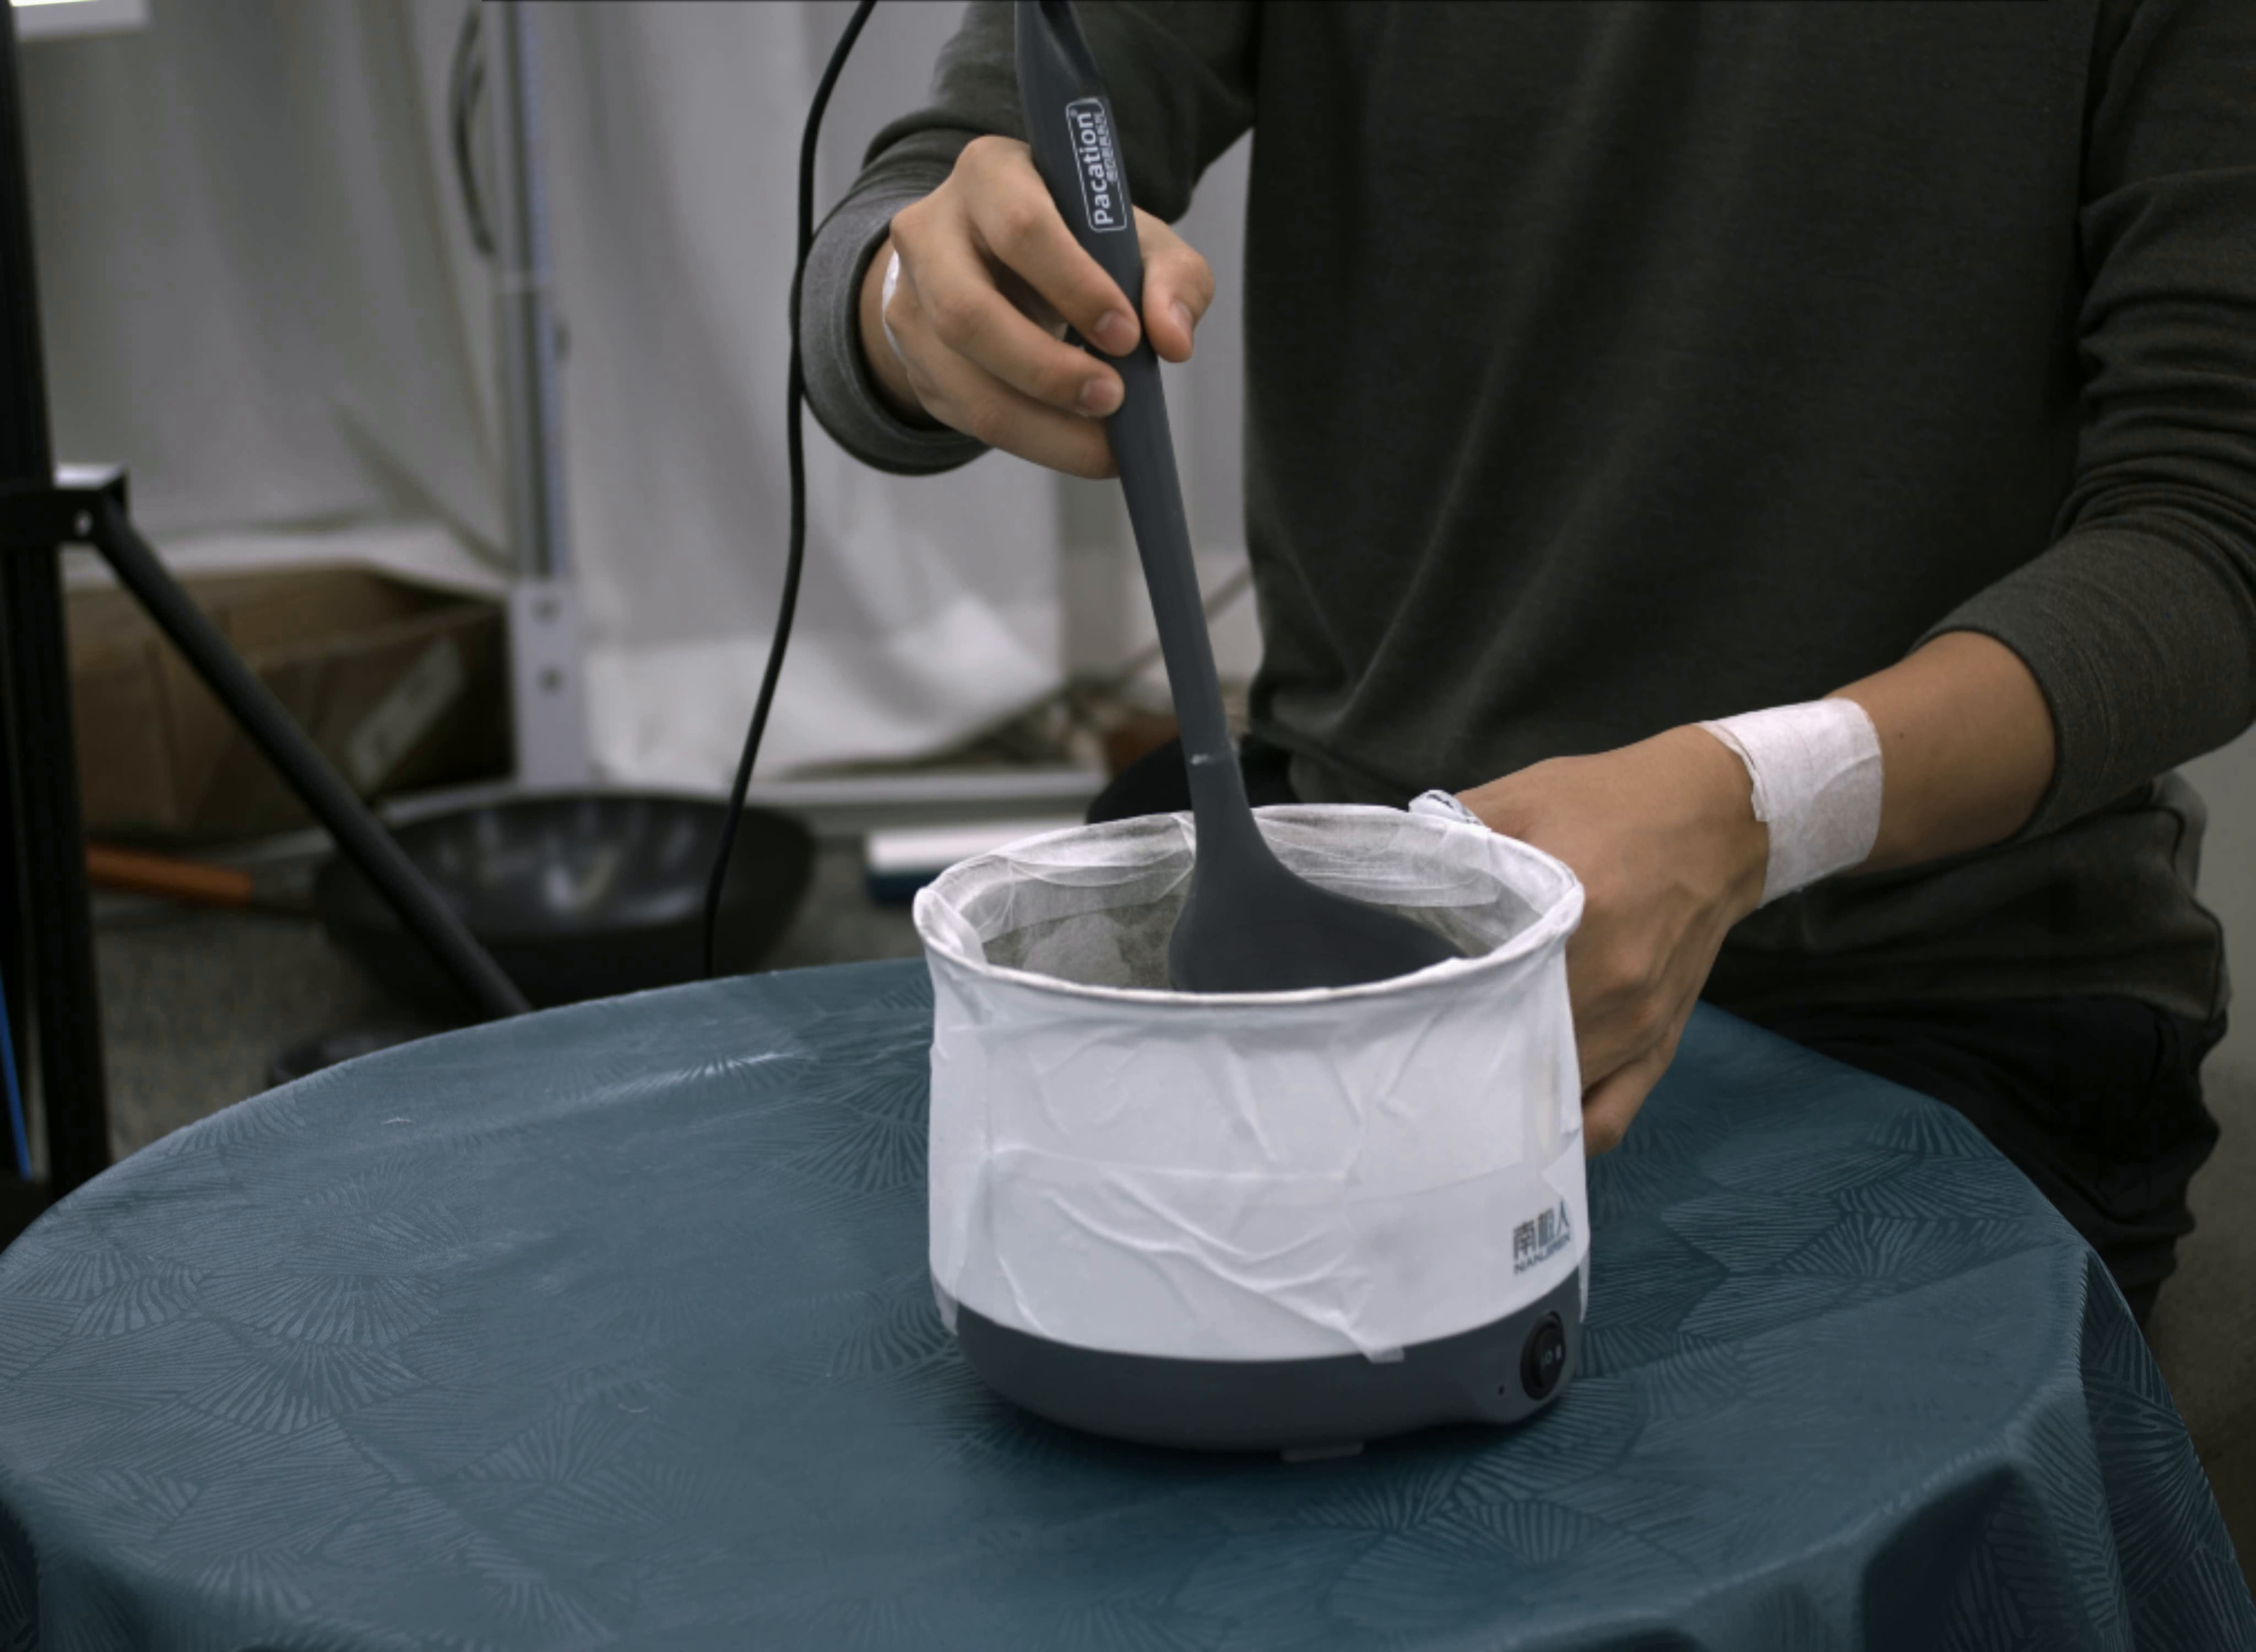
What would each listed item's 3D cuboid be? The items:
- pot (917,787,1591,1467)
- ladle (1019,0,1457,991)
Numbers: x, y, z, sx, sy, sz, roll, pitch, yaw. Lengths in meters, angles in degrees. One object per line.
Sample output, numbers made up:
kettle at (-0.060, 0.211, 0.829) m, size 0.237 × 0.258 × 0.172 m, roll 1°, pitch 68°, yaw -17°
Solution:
pot at (0.049, 0.073, 1.427) m, size 0.182 × 0.136 × 0.229 m, roll 8°, pitch 19°, yaw 32°
ladle at (0.023, -0.081, 1.408) m, size 0.084 × 0.316 × 0.065 m, roll -8°, pitch -8°, yaw -35°
